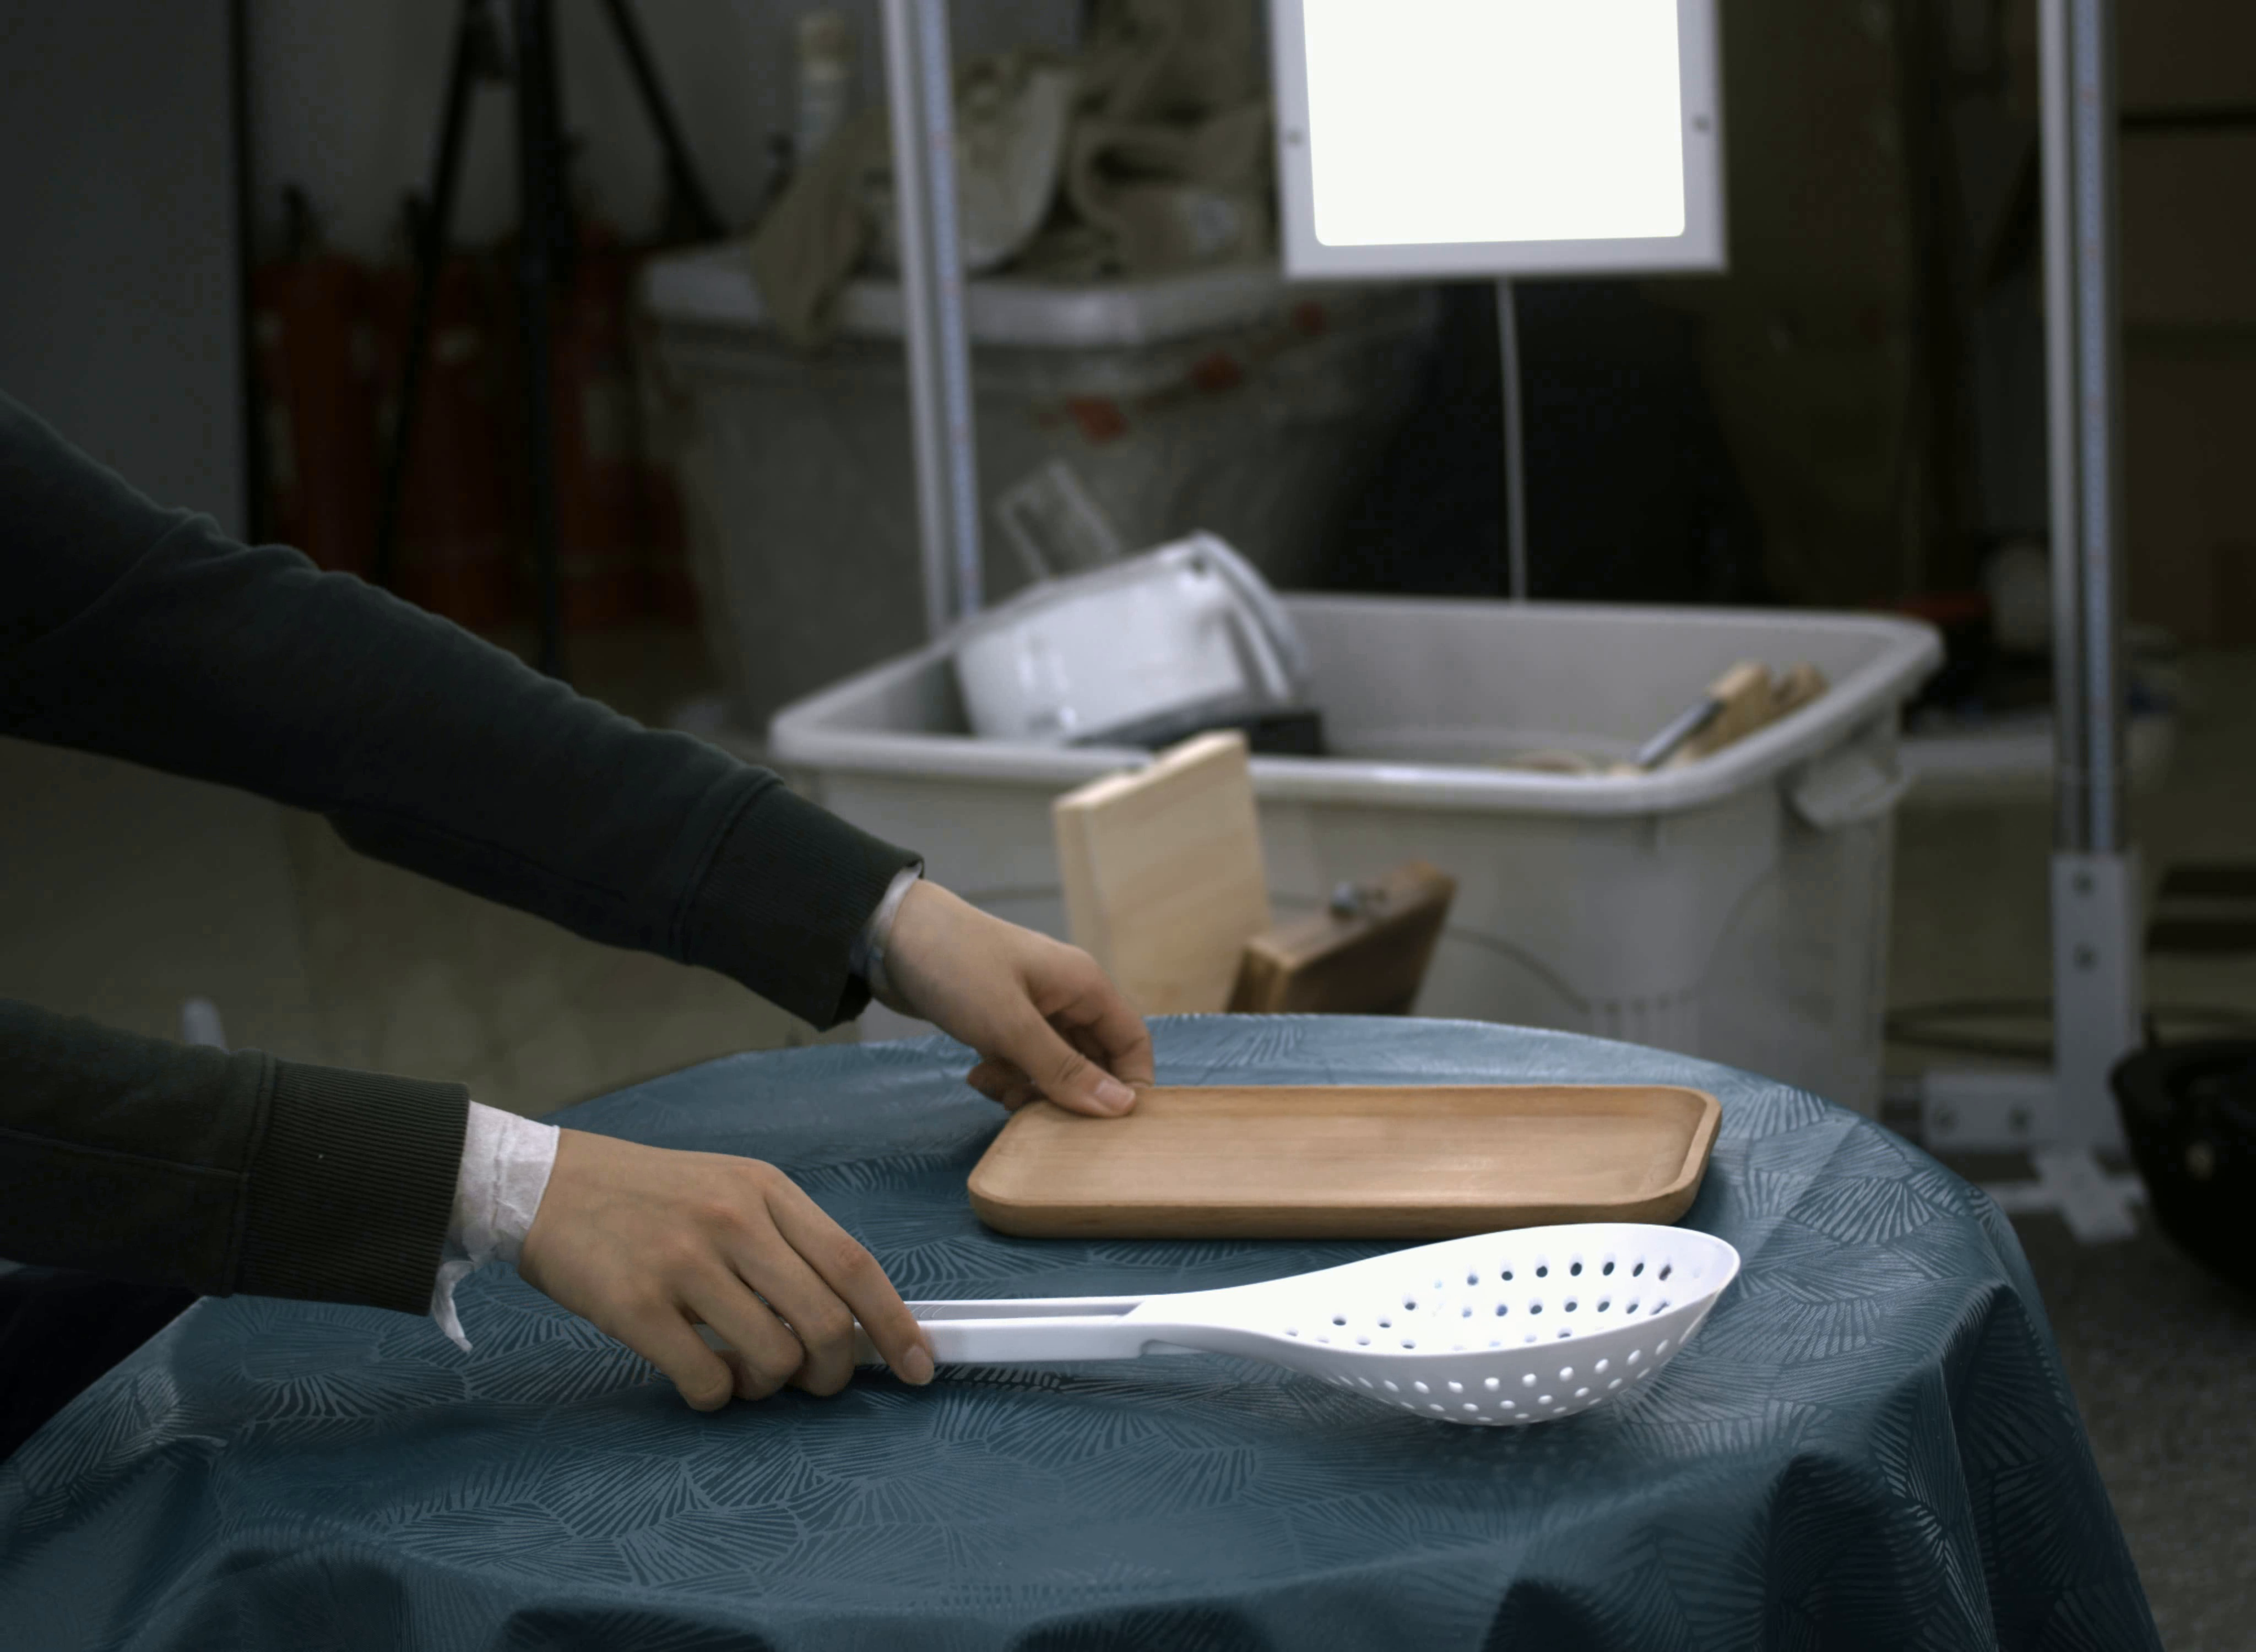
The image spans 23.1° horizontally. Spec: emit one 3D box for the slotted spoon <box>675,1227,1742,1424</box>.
[{"bbox_3d":[0.019,0.152,1.691,0.355,0.046,0.133,1,11,25],"label":"slotted spoon"}]

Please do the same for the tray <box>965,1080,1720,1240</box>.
[{"bbox_3d":[0.074,0.114,1.881,0.253,0.023,0.129,-2,13,16],"label":"tray"}]
